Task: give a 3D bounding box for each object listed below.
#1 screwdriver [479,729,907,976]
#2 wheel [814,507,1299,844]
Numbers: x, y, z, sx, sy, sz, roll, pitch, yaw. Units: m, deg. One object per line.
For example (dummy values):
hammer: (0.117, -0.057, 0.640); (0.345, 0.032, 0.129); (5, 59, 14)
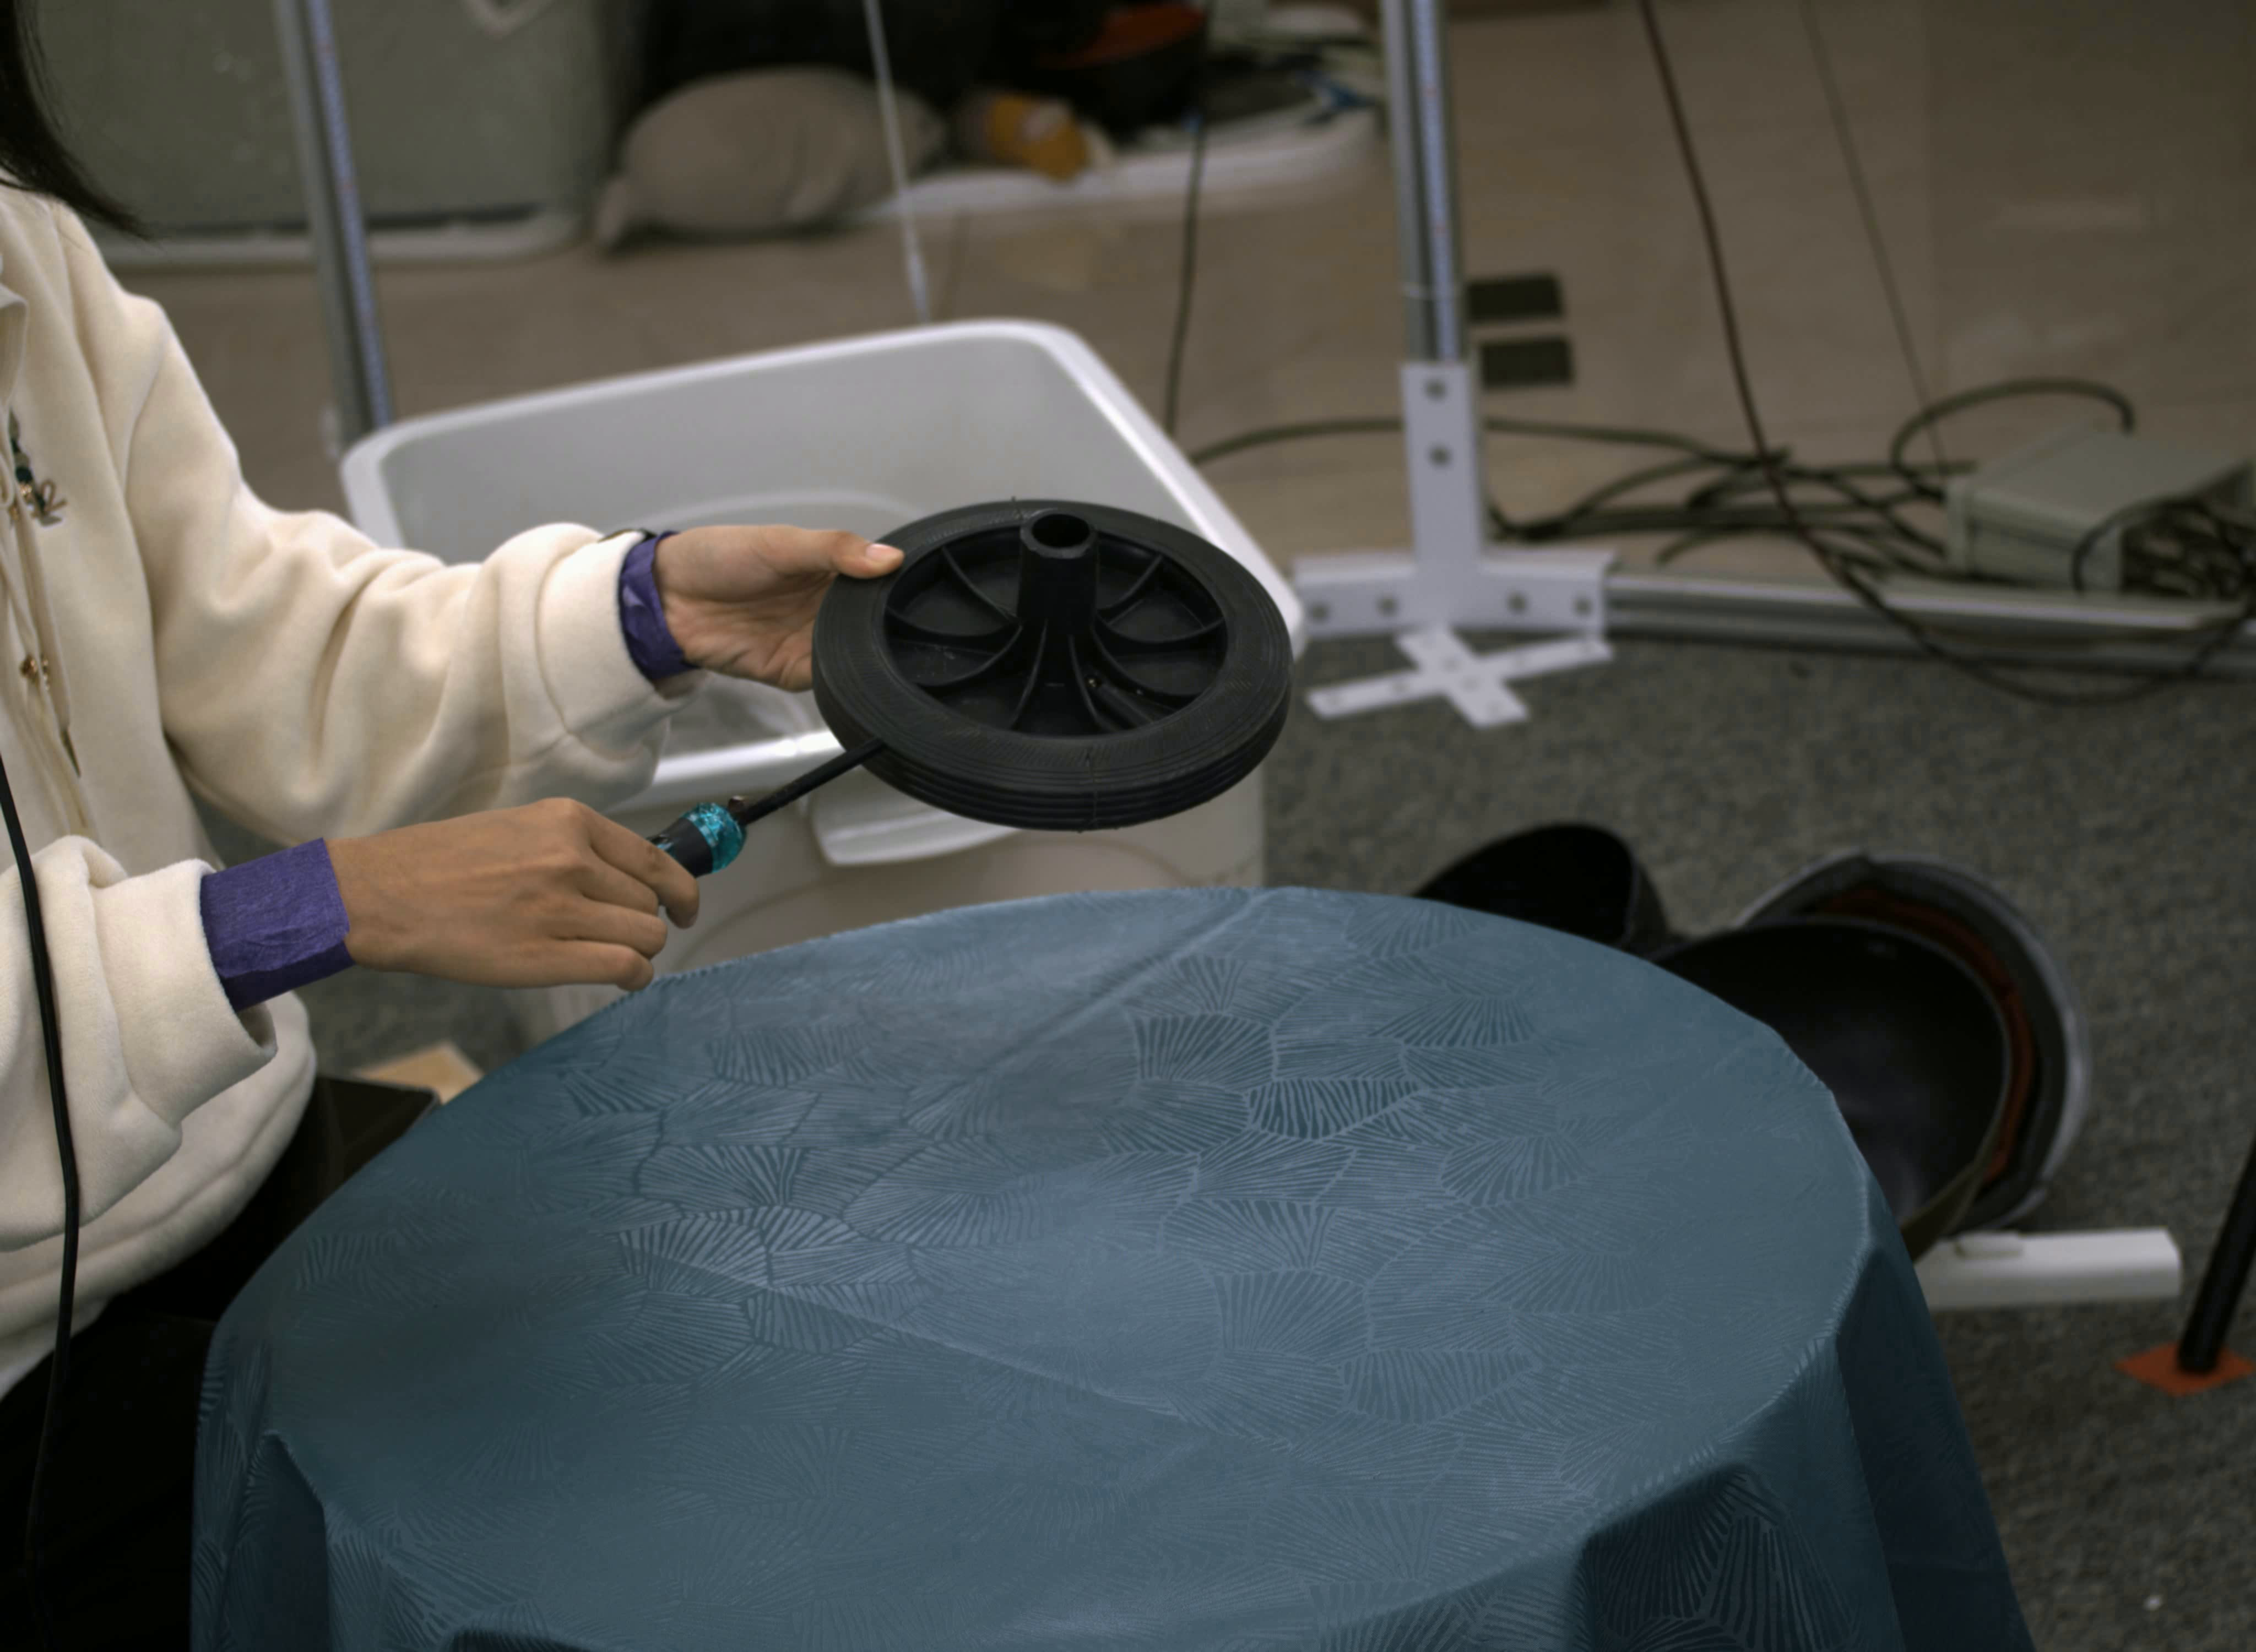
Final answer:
screwdriver: (-0.156, 0.006, 2.096); (0.188, 0.034, 0.033); (-29, 33, -29)
wheel: (-0.026, -0.077, 2.189); (0.189, 0.080, 0.184); (22, 43, 15)
